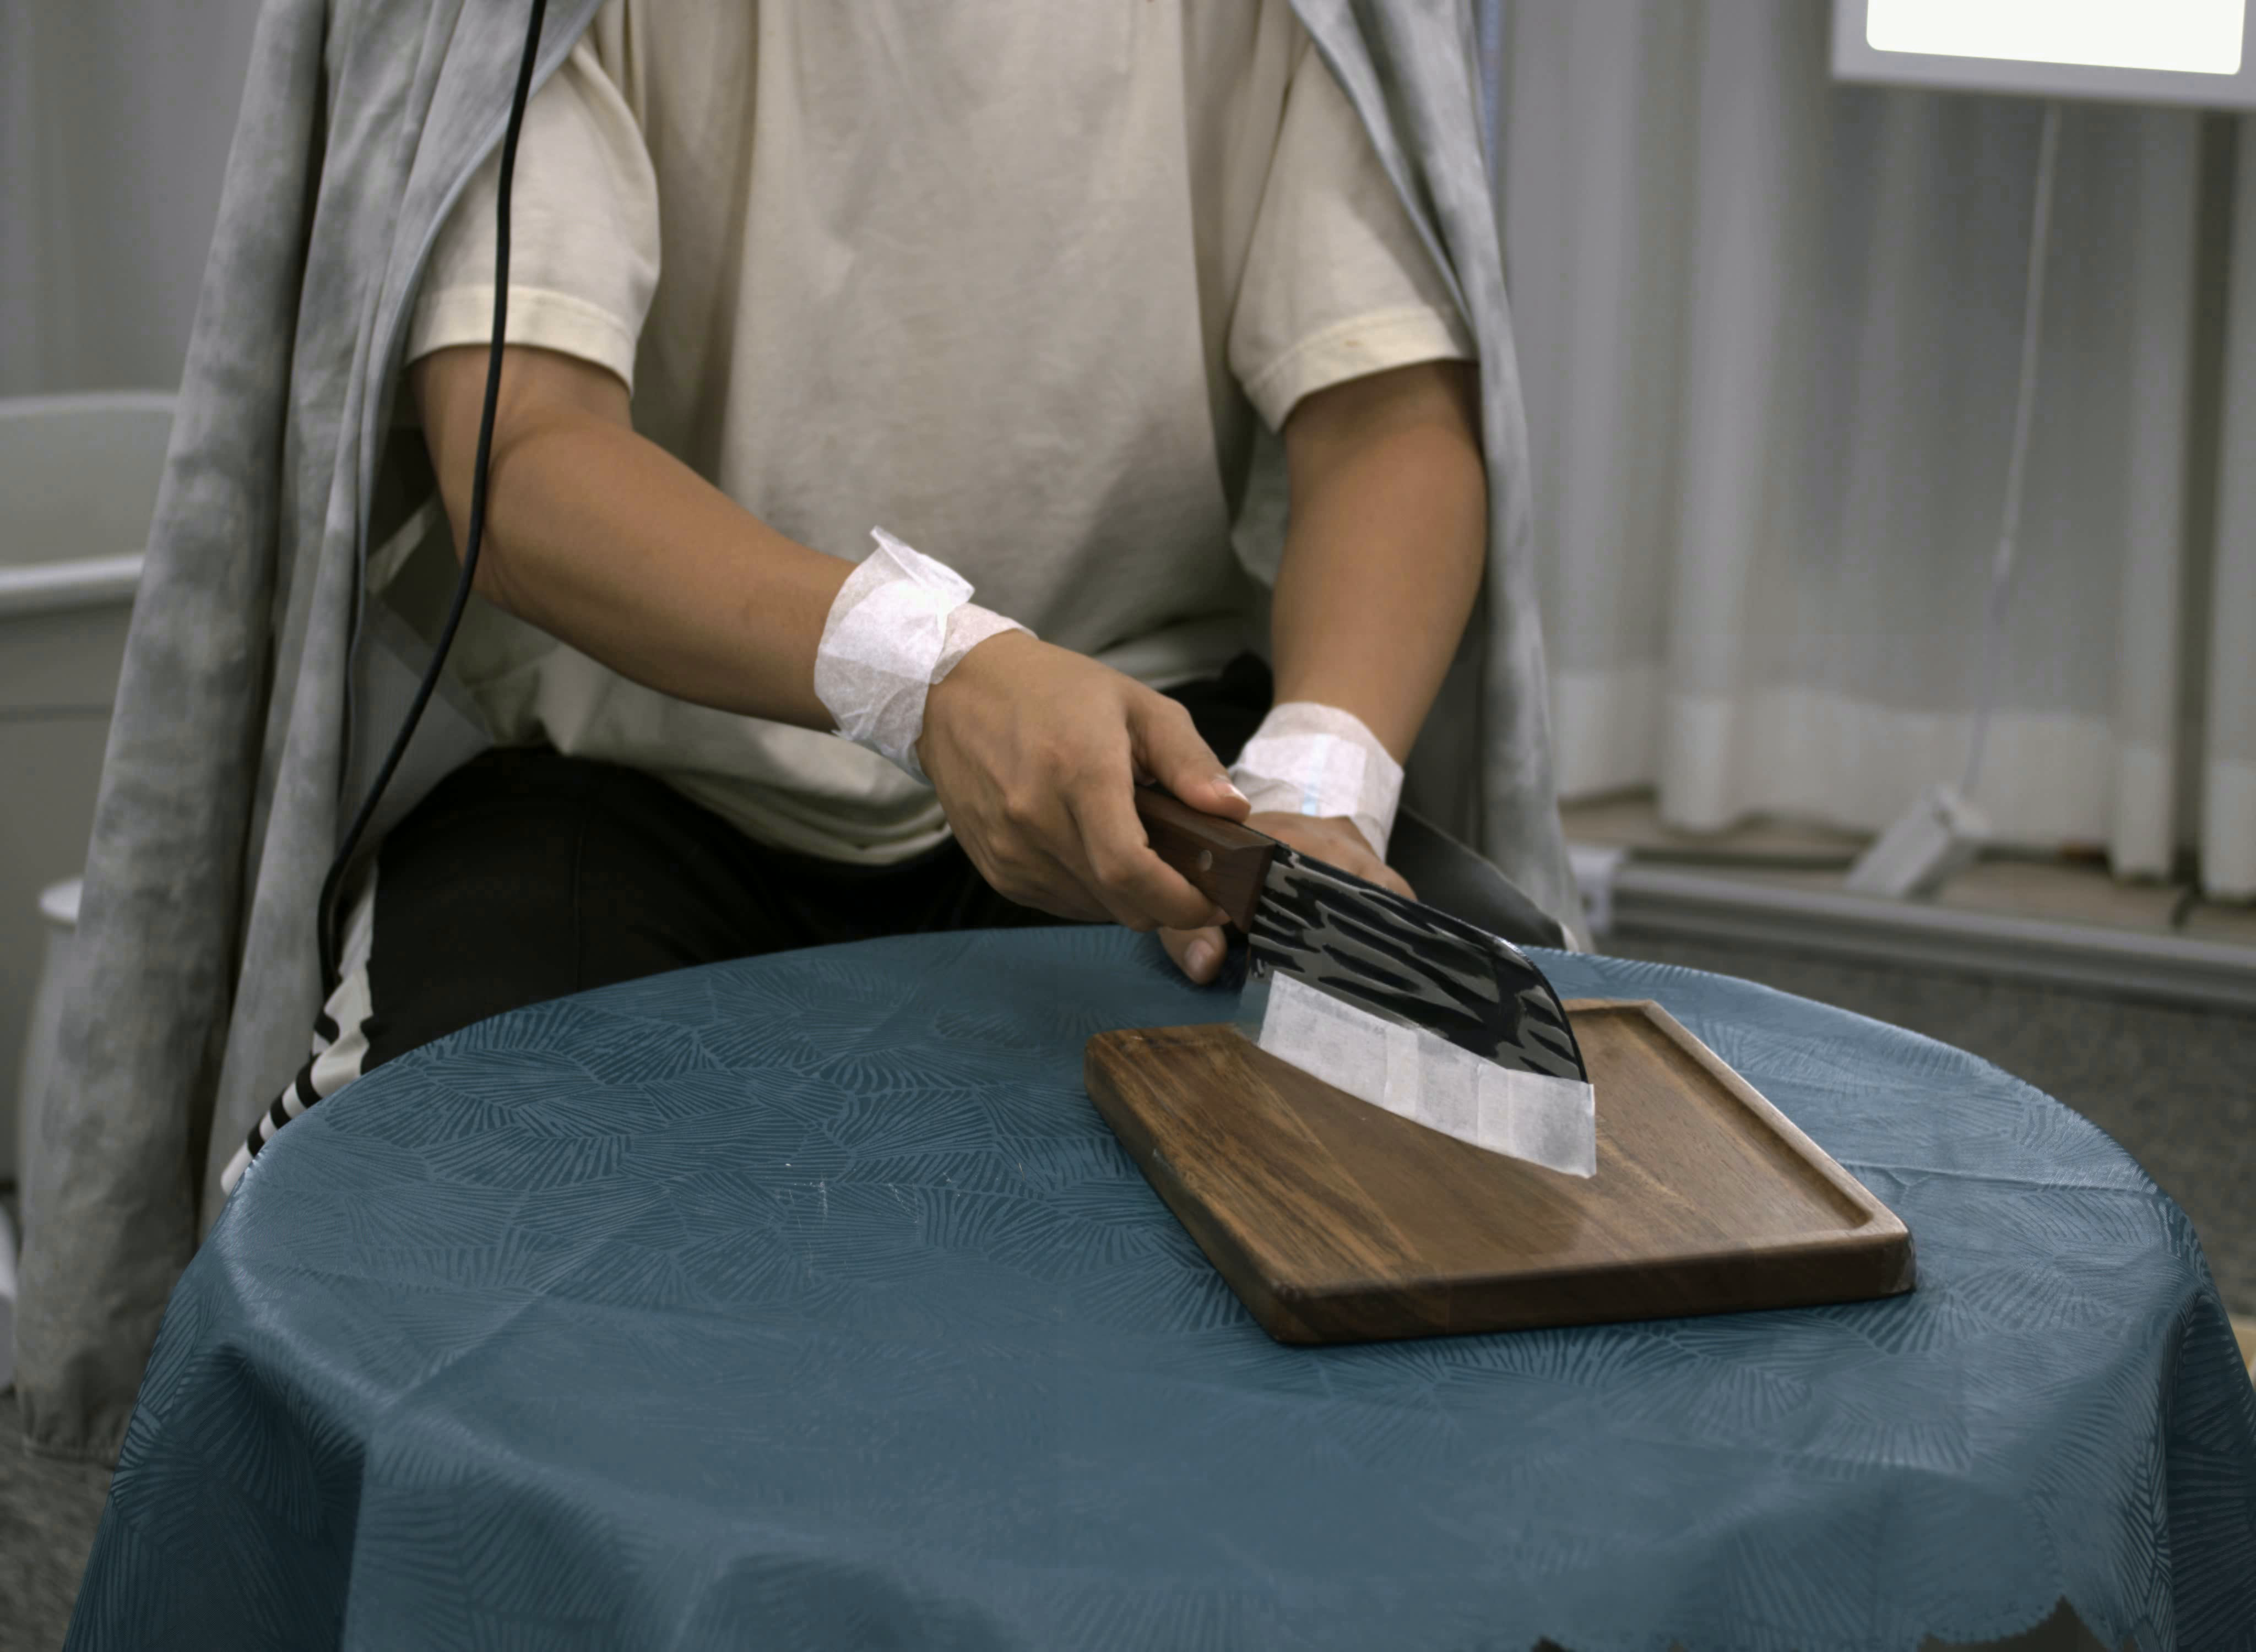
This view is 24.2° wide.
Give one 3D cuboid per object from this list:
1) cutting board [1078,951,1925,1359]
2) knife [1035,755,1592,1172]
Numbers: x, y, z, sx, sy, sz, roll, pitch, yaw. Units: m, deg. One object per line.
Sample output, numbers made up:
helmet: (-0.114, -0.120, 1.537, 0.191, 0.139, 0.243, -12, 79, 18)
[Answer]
cutting board: (0.097, 0.091, 1.675, 0.201, 0.023, 0.349, -5, 16, -14)
knife: (0.056, 0.041, 1.688, 0.024, 0.068, 0.295, 0, 16, -37)
